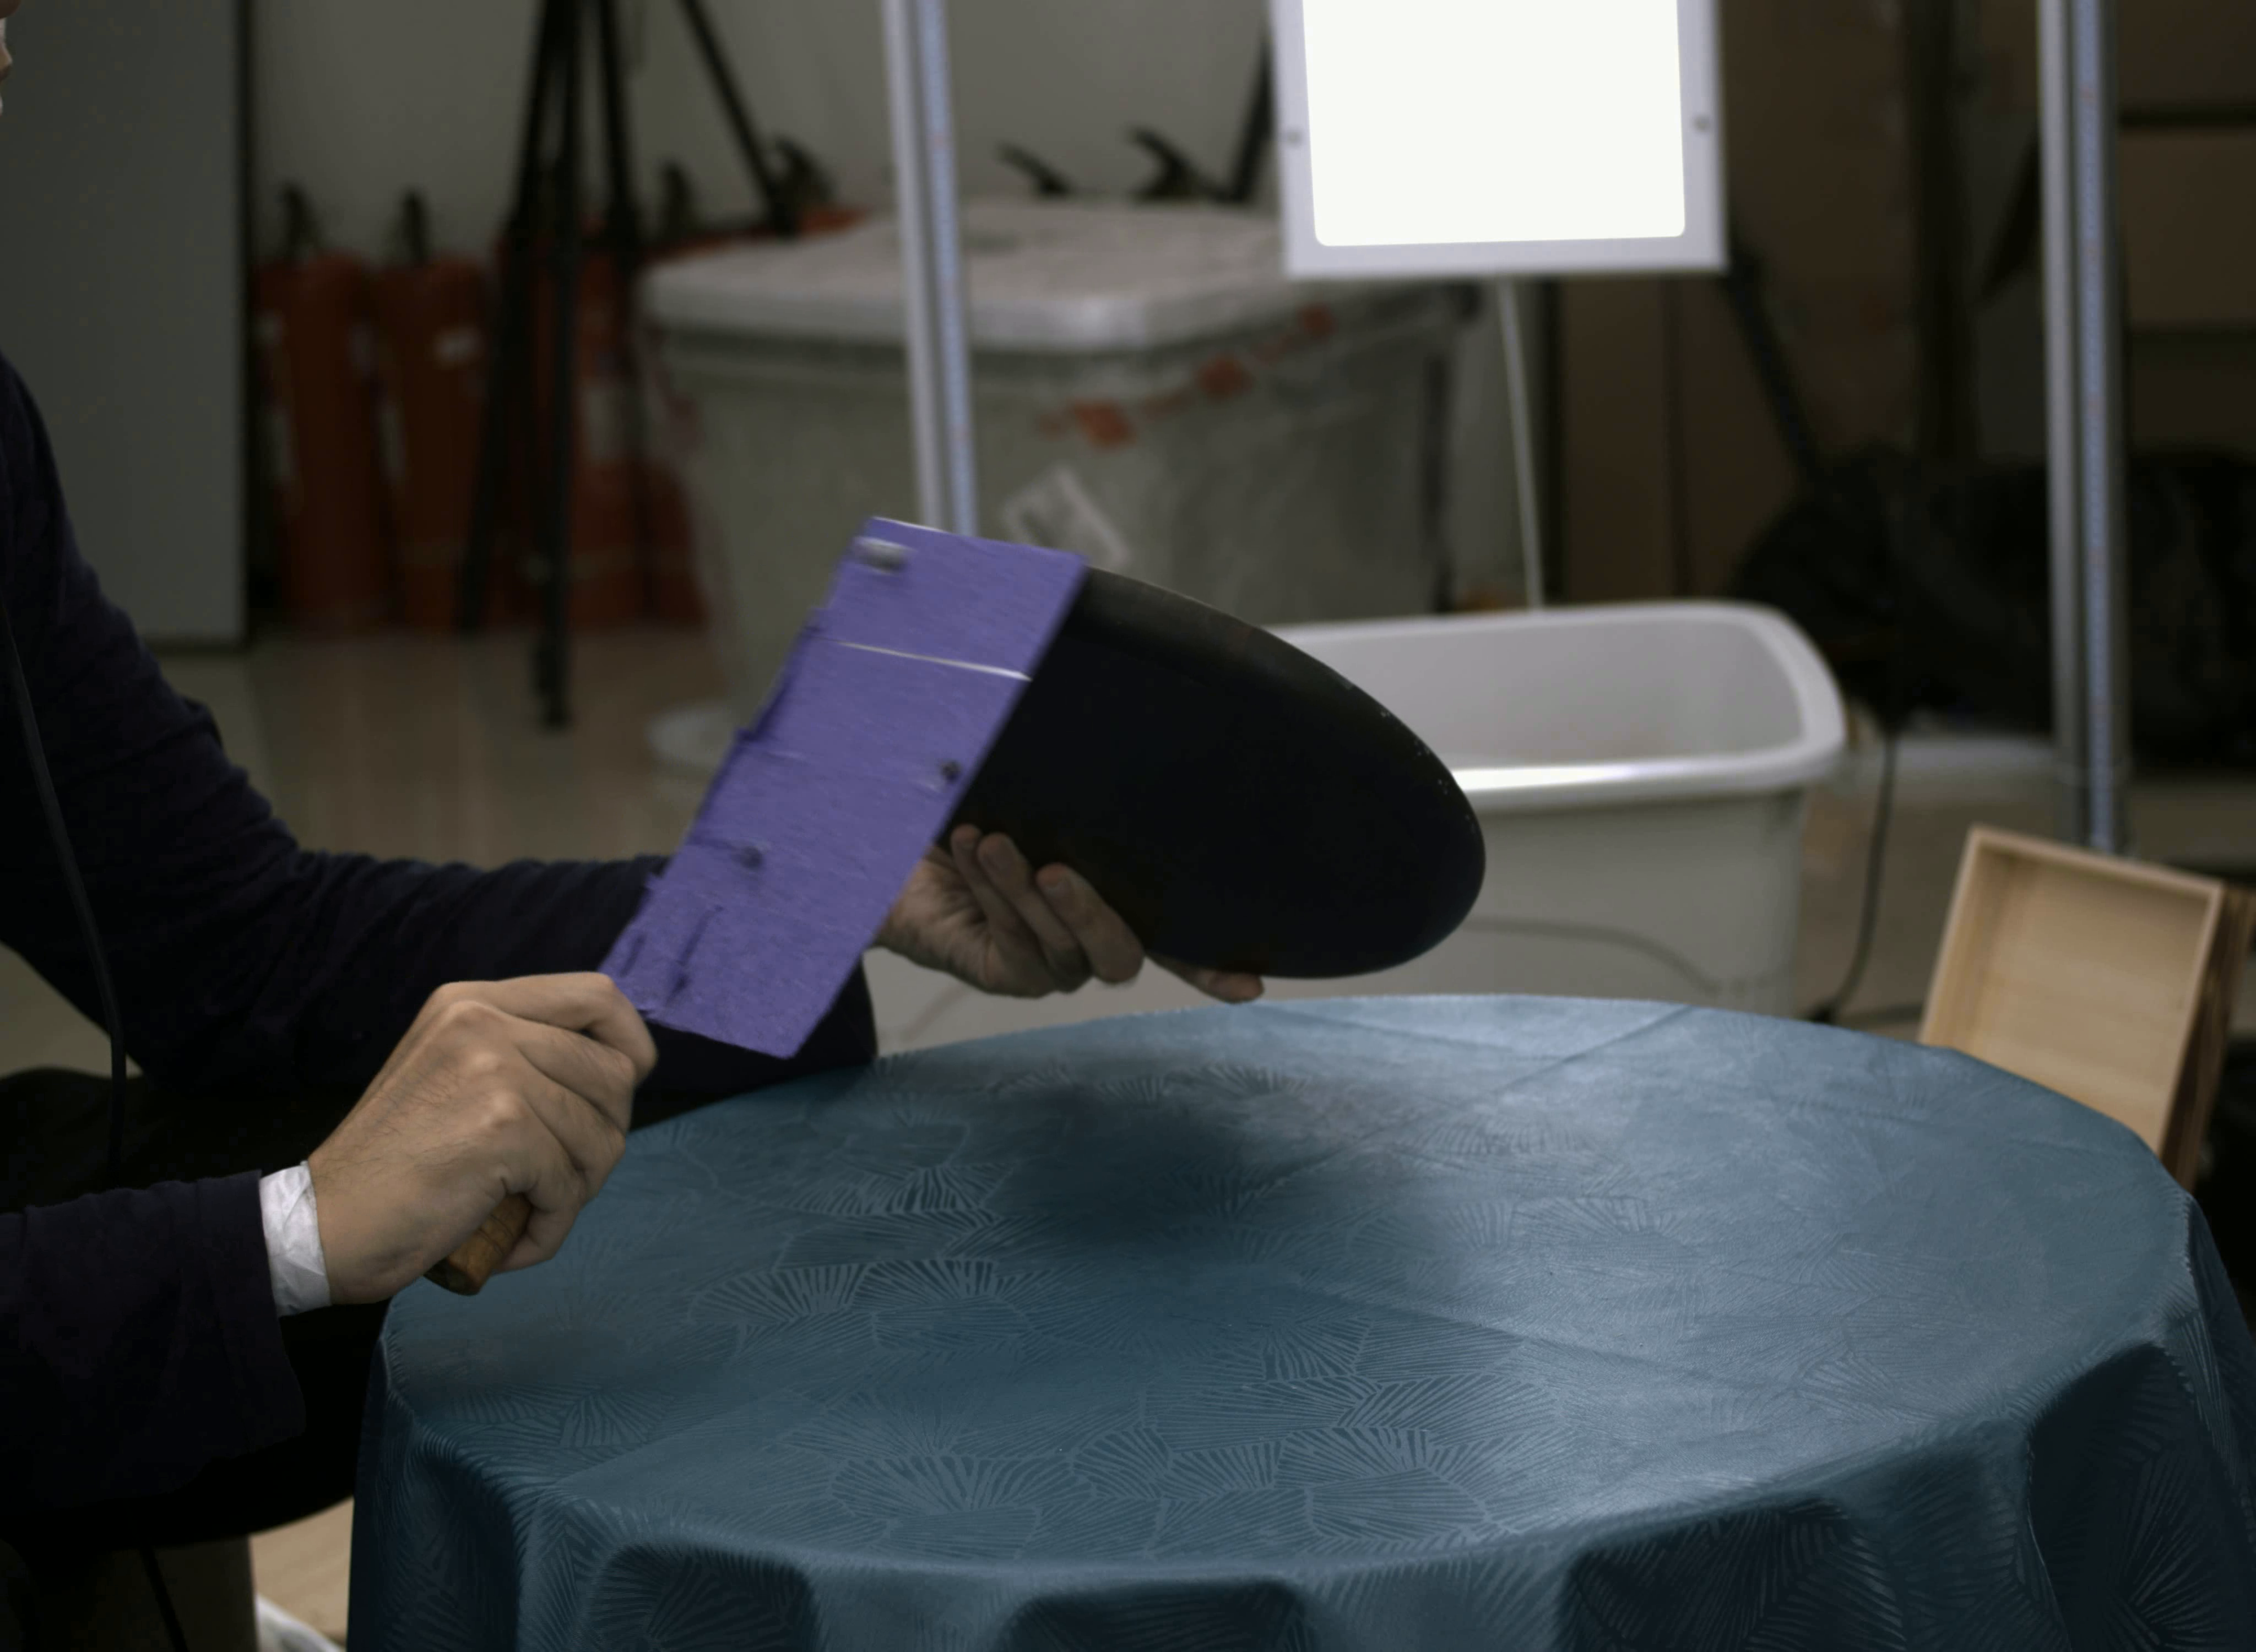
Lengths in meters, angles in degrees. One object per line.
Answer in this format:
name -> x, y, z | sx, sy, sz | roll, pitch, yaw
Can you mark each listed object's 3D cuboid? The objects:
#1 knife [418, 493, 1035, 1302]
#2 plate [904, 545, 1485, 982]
knife -> -0.126, 0.020, 1.795 | 0.106, 0.032, 0.312 | 10, 64, 35
plate -> 0.003, -0.017, 1.931 | 0.260, 0.252, 0.029 | 6, 60, 36
